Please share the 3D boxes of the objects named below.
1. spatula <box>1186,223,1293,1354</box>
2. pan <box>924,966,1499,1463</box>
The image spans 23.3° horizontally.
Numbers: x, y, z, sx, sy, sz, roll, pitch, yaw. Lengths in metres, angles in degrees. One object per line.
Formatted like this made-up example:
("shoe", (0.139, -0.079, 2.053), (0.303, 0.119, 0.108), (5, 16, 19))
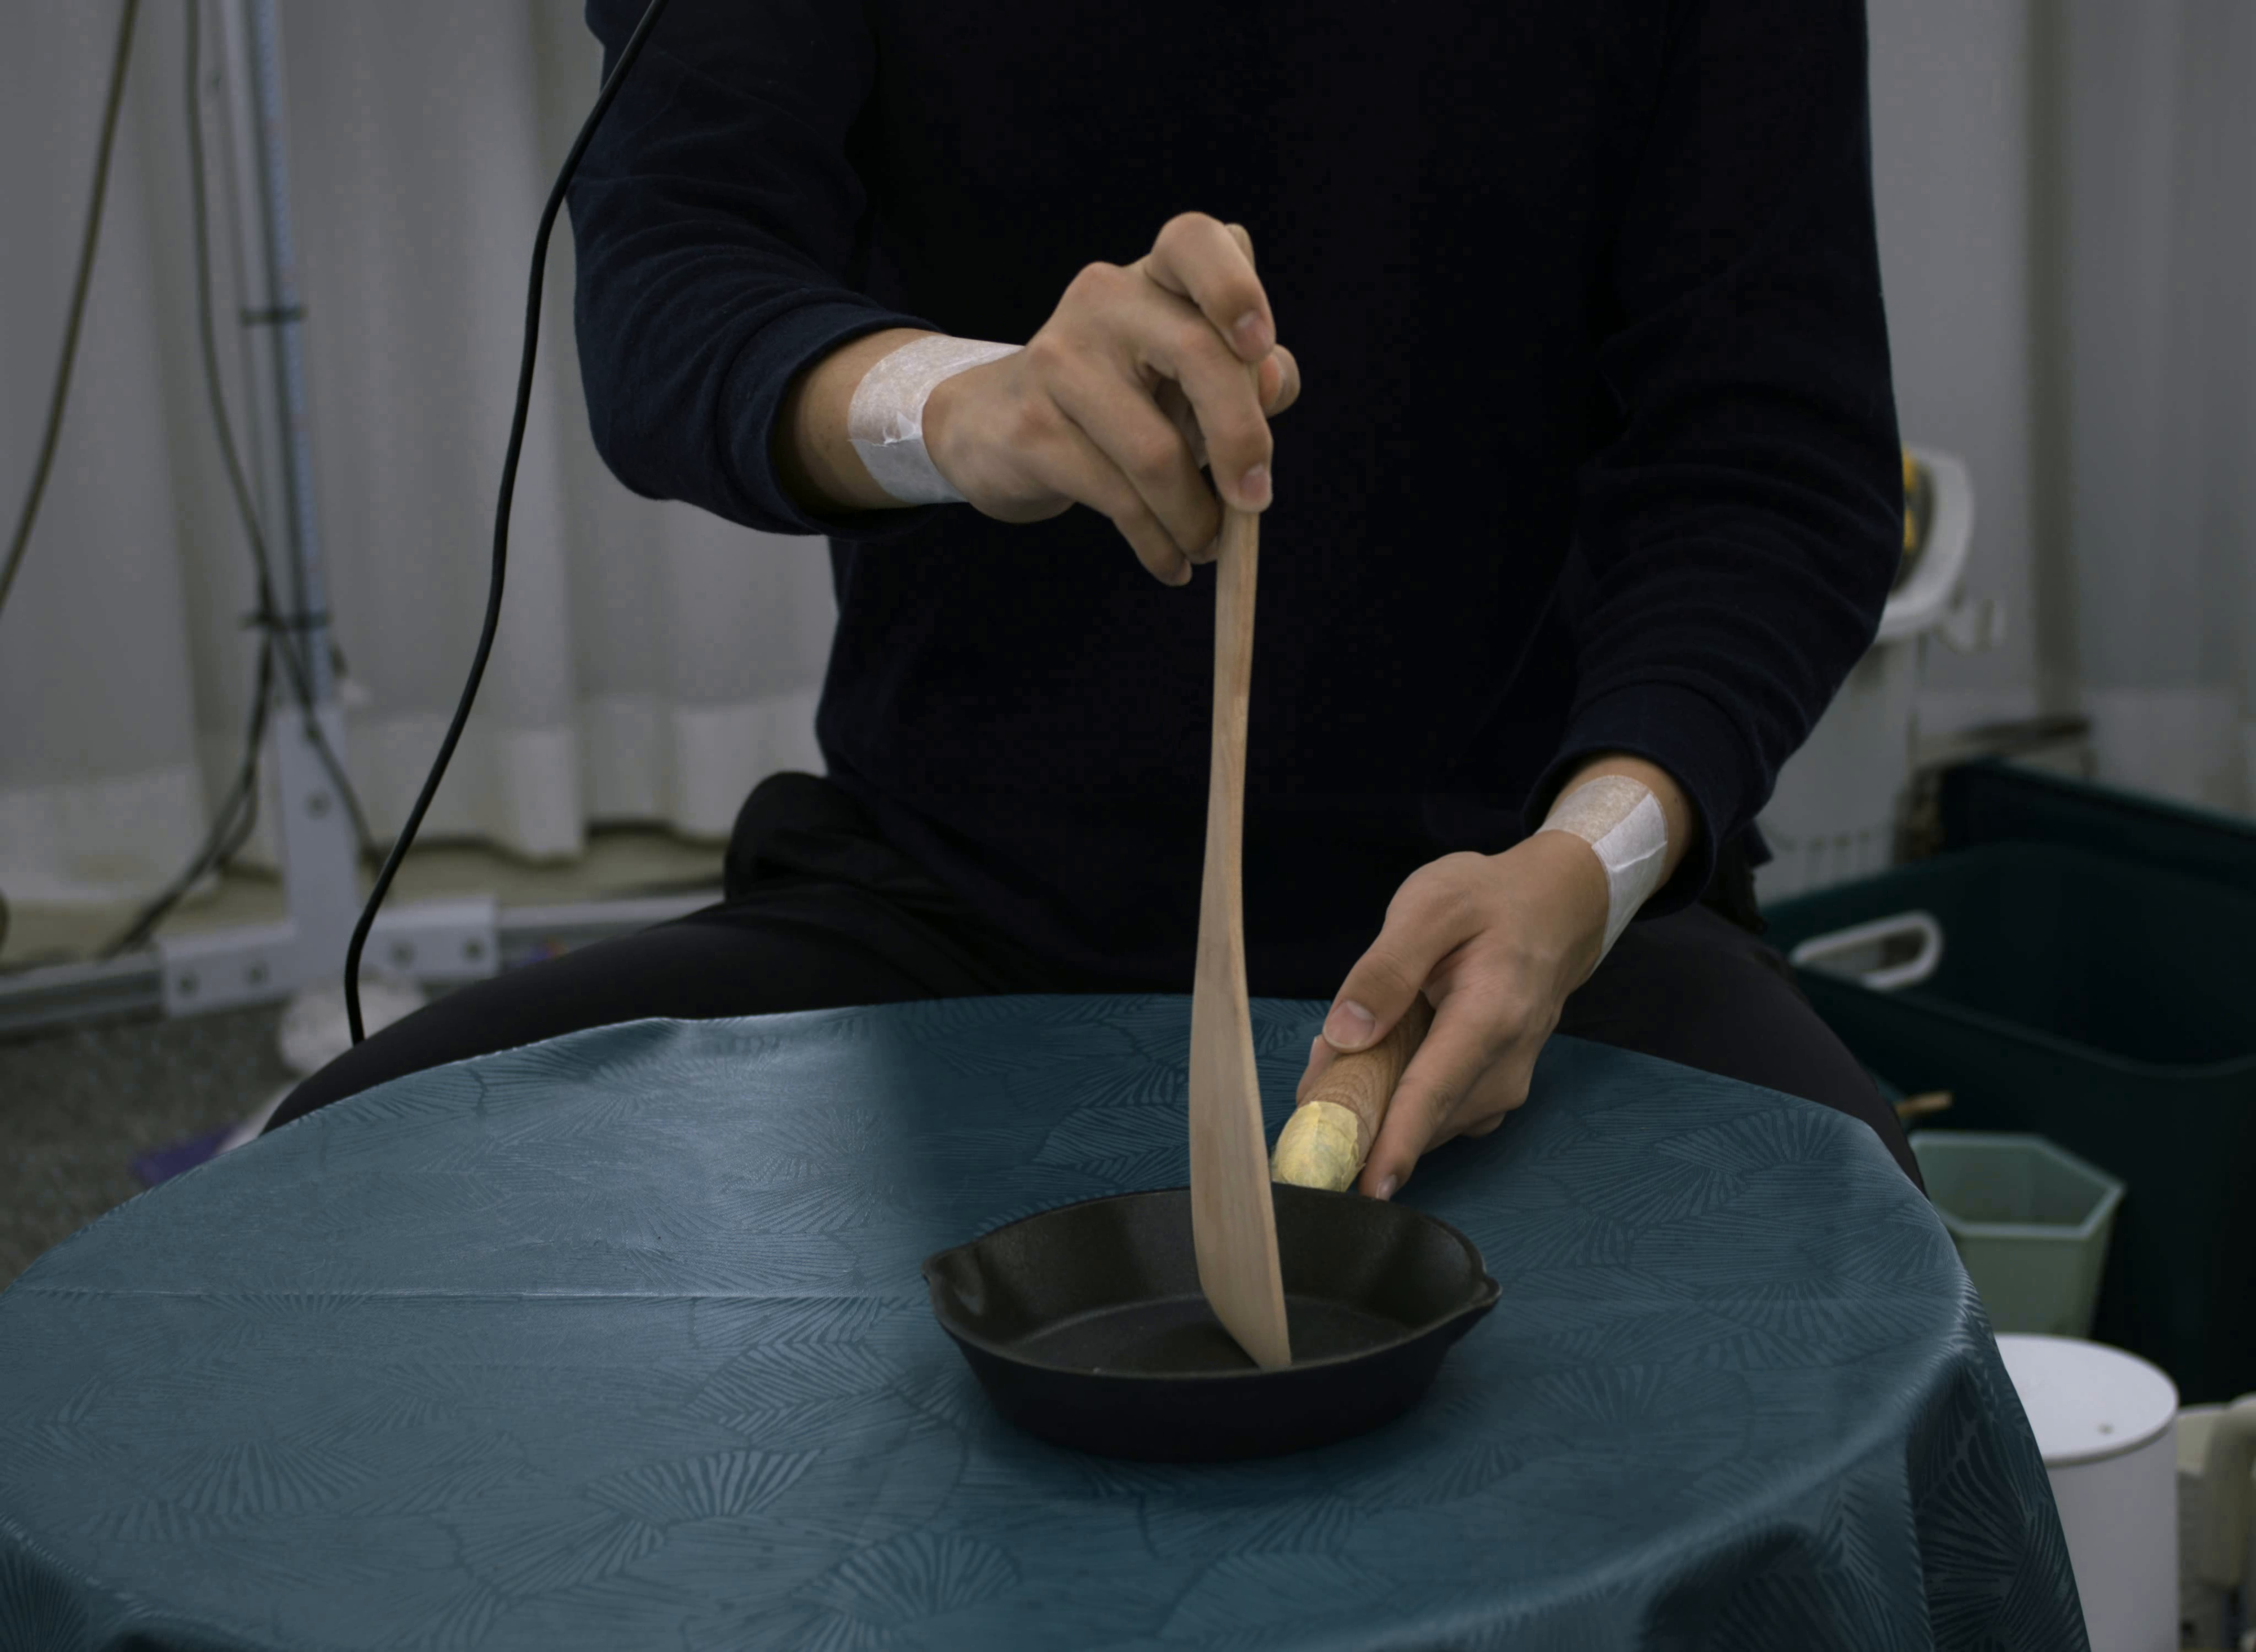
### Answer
("spatula", (0.032, -0.005, 1.546), (0.016, 0.328, 0.080), (0, 3, -17))
("pan", (0.050, 0.112, 1.620), (0.169, 0.049, 0.325), (2, 17, 19))
